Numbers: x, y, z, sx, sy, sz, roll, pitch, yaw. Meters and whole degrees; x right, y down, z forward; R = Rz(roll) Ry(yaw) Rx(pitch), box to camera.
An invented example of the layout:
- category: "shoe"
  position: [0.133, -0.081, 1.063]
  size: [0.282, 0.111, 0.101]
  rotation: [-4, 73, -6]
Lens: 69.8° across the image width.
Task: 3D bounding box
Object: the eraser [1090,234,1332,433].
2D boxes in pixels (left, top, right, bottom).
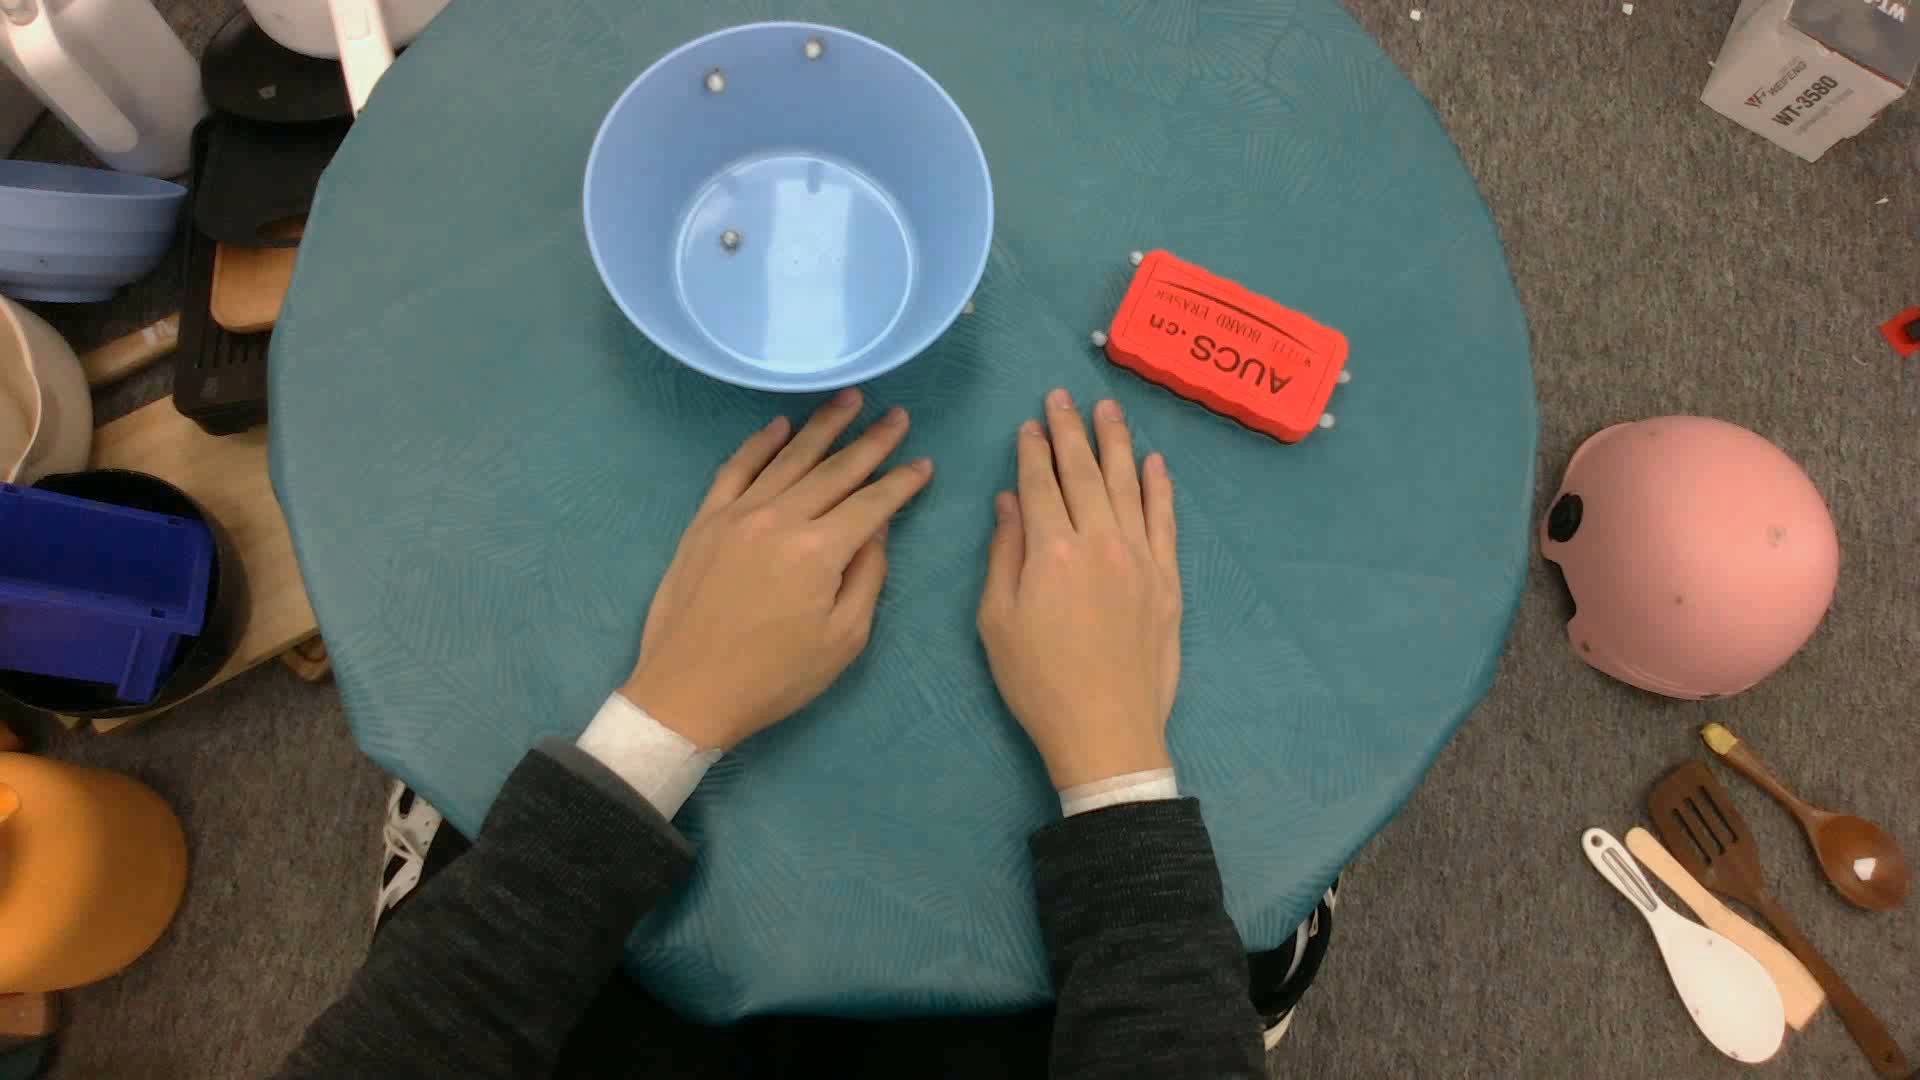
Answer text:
- category: "eraser"
  position: [0.121, -0.100, 0.664]
  size: [0.108, 0.023, 0.059]
  rotation: [27, 71, 0]

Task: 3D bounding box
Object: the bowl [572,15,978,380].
- category: "bowl"
  position: [-0.082, -0.144, 0.628]
  size: [0.176, 0.070, 0.176]
  rotation: [2, 75, -7]
